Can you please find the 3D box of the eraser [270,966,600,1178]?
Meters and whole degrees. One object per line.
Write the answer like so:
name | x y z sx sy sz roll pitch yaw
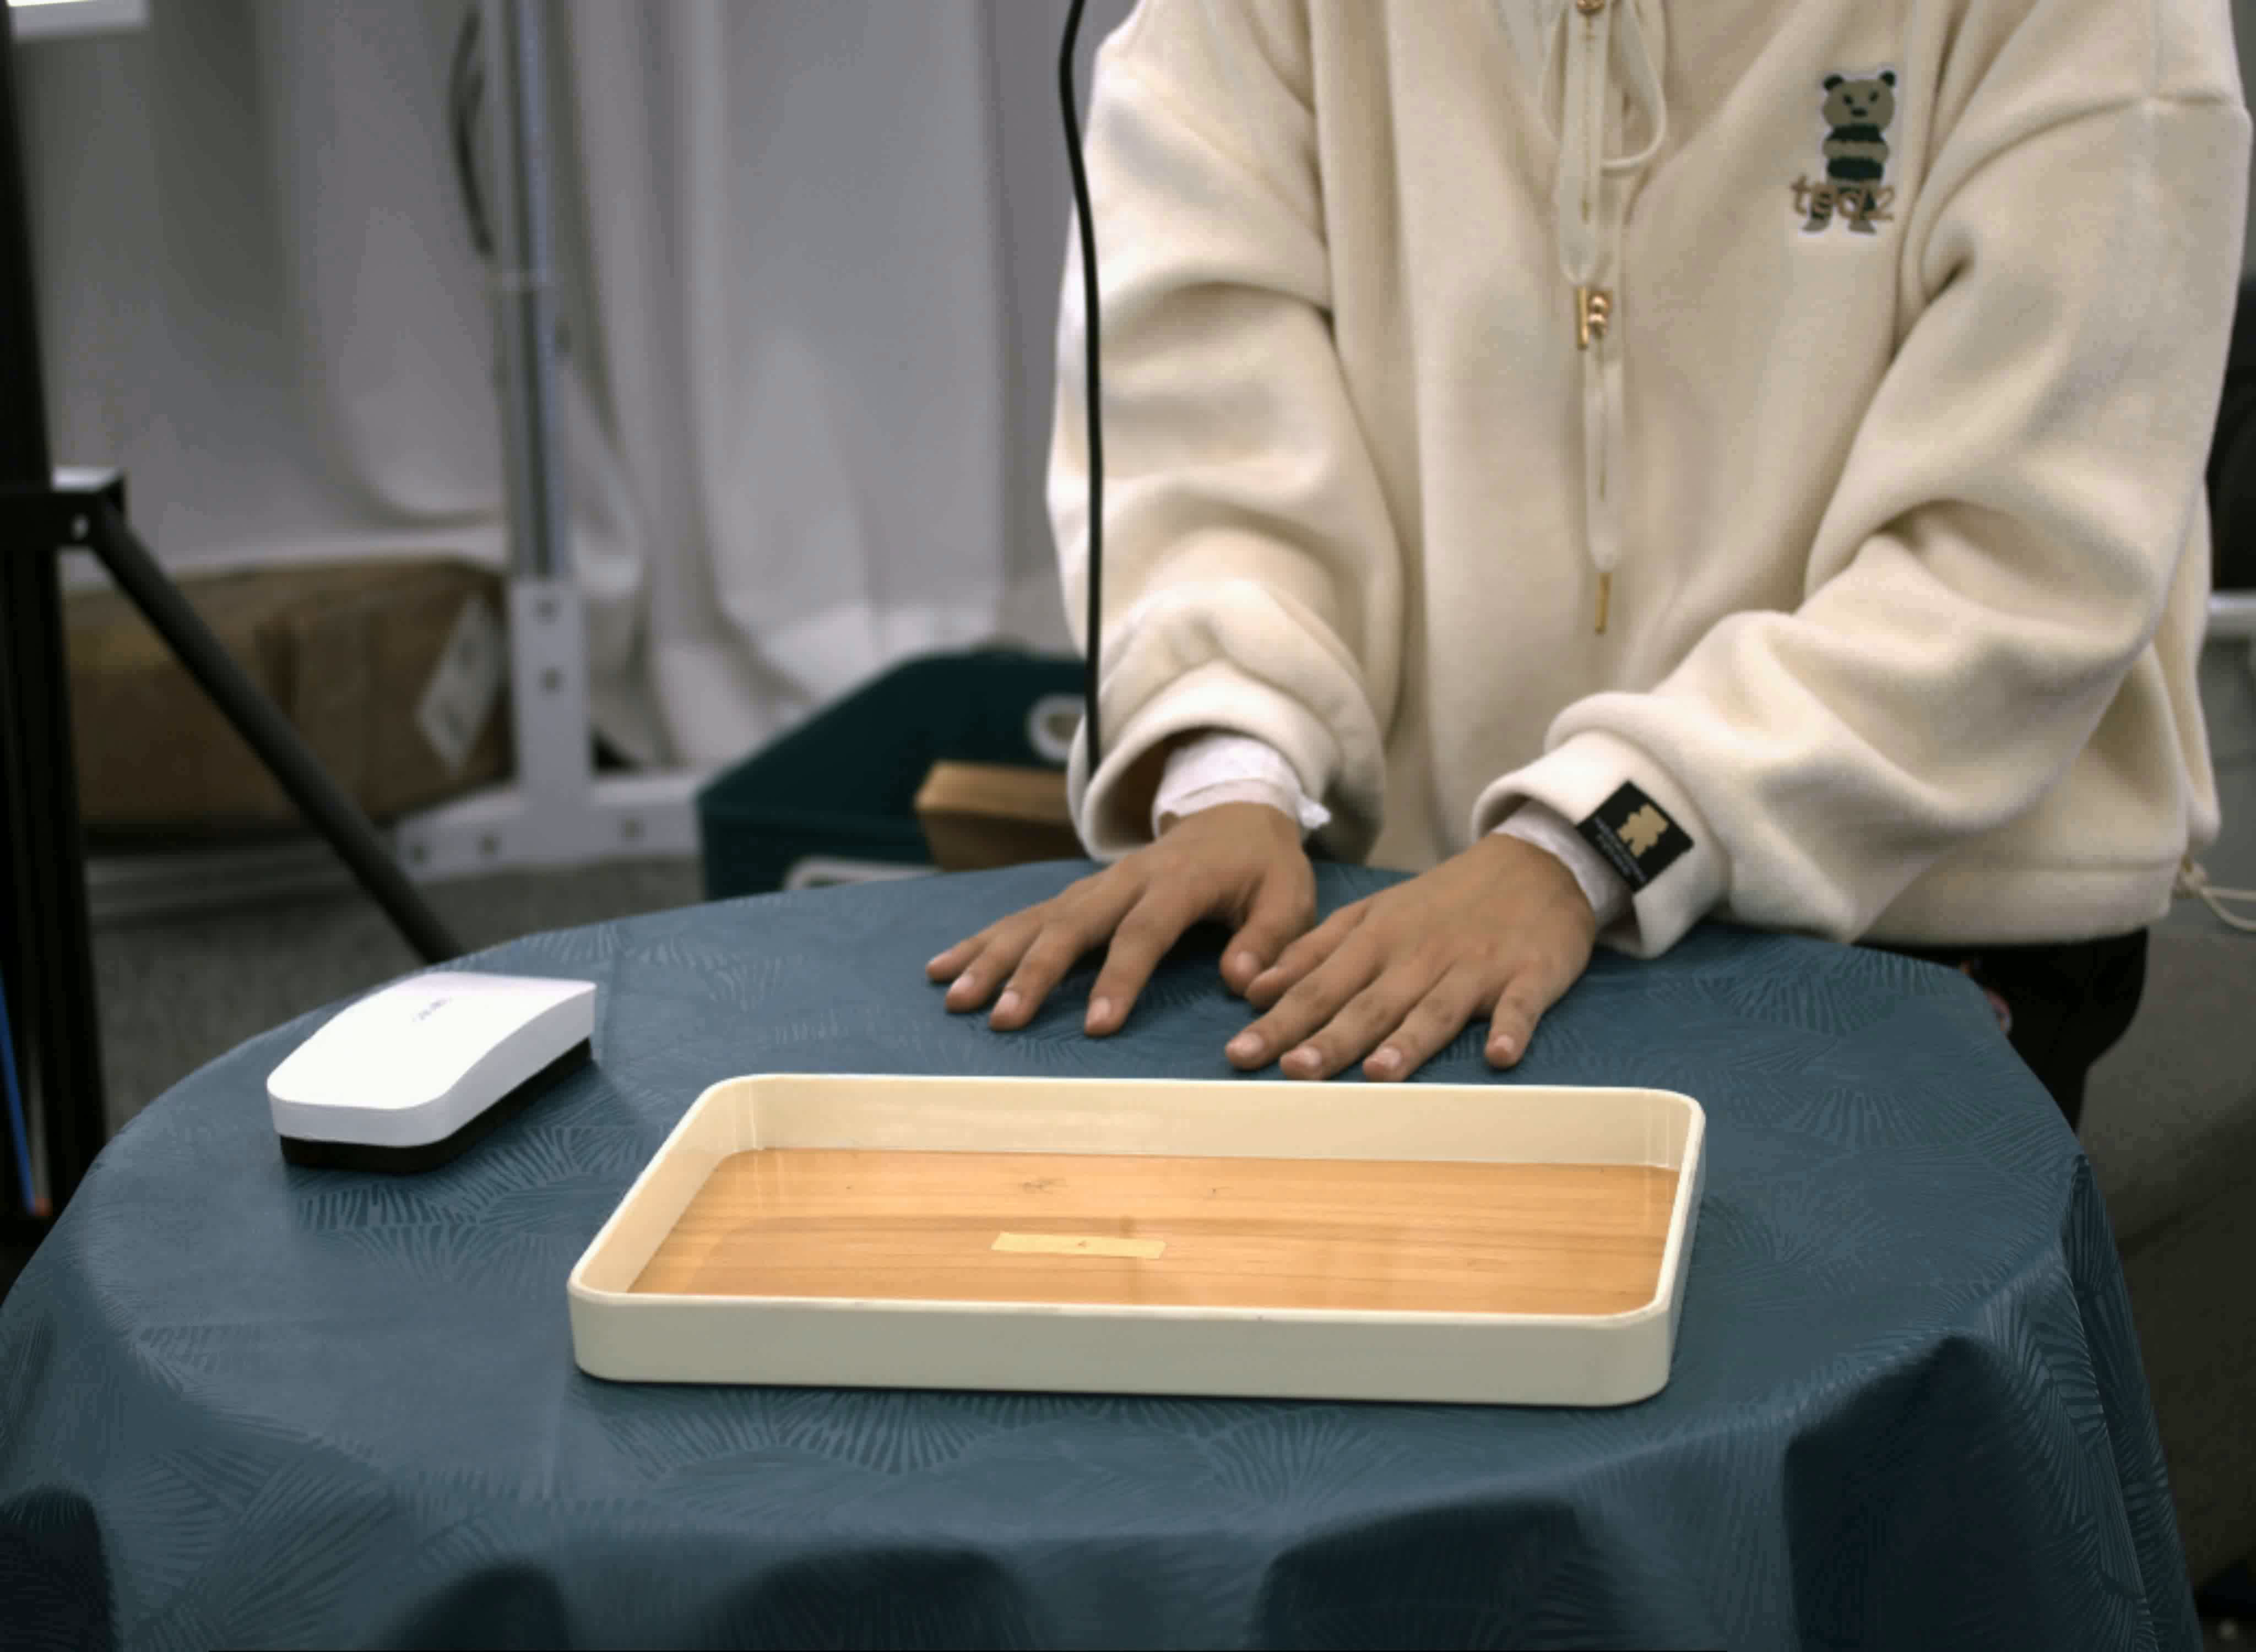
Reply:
eraser | -0.213 0.073 1.662 0.064 0.034 0.130 4 18 21

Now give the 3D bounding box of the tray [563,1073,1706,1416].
tray | 0.007 0.114 1.484 0.302 0.027 0.191 1 16 12
